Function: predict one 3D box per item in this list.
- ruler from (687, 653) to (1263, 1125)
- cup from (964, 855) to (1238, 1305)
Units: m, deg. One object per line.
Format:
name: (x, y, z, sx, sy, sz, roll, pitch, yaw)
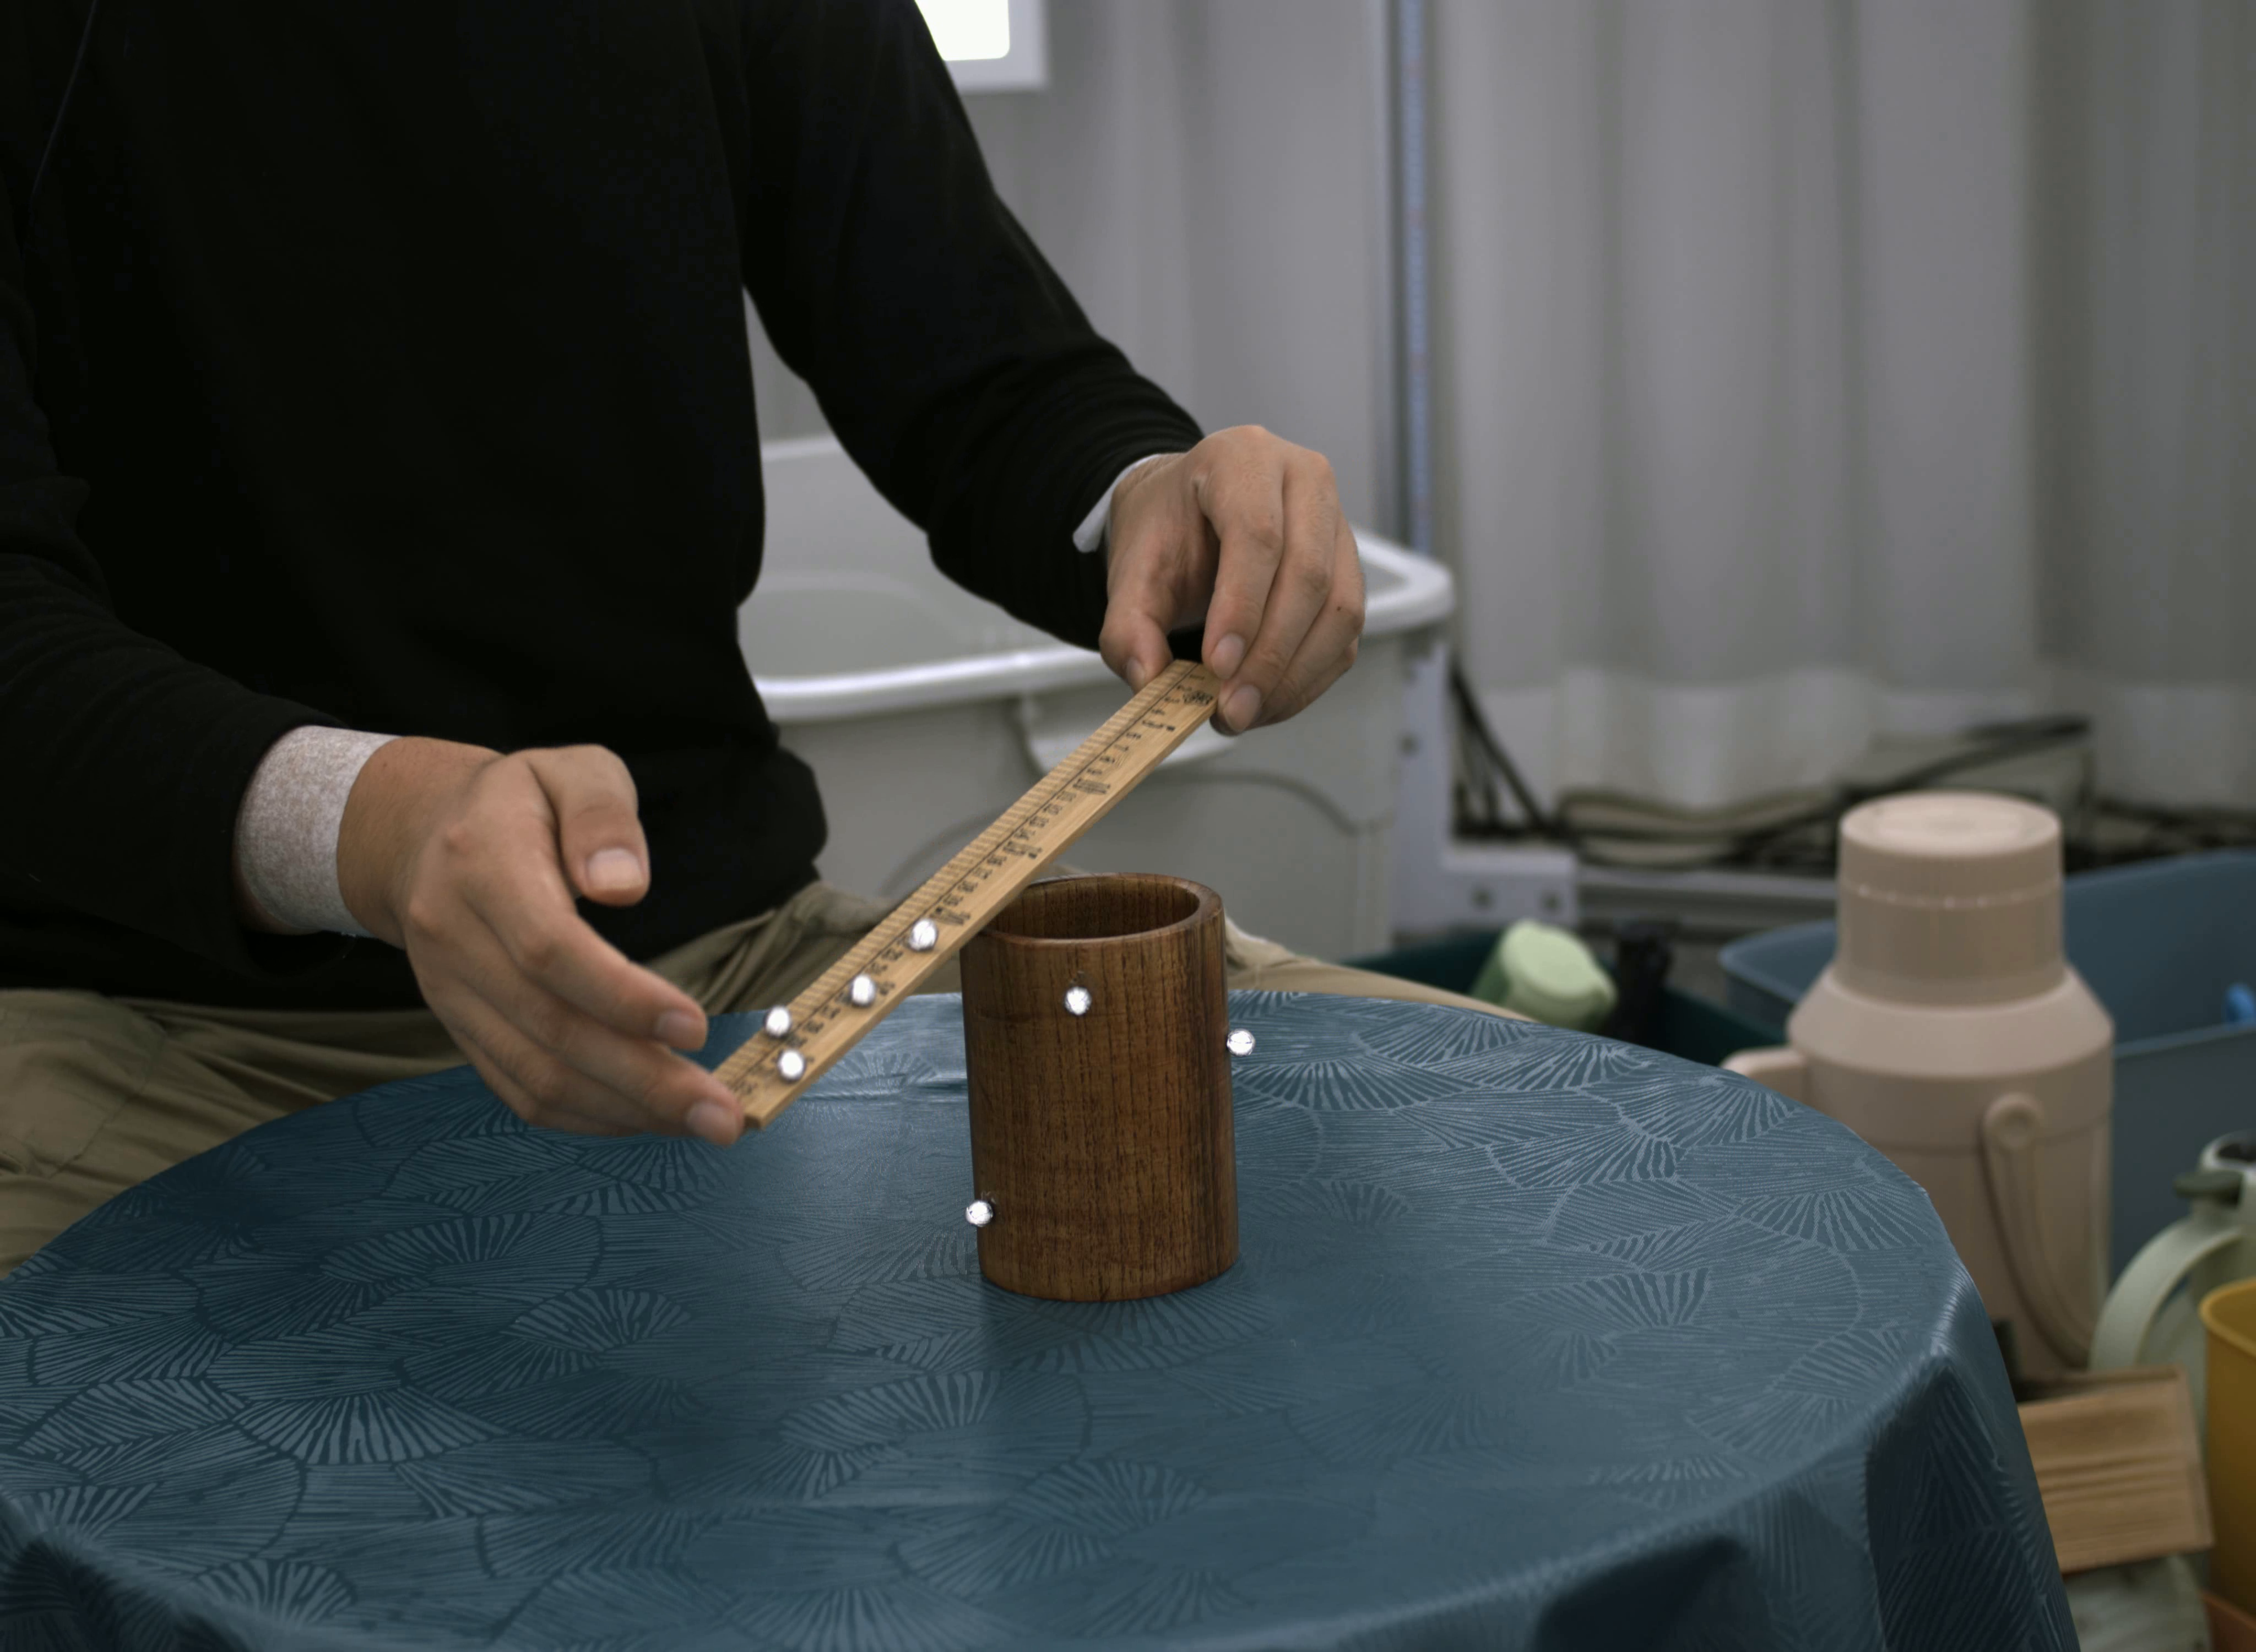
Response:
ruler: (-0.039, 0.010, 1.626, 0.027, 0.022, 0.333, 18, 30, 20)
cup: (-0.009, 0.075, 1.639, 0.087, 0.118, 0.088, -2, 13, 0)
